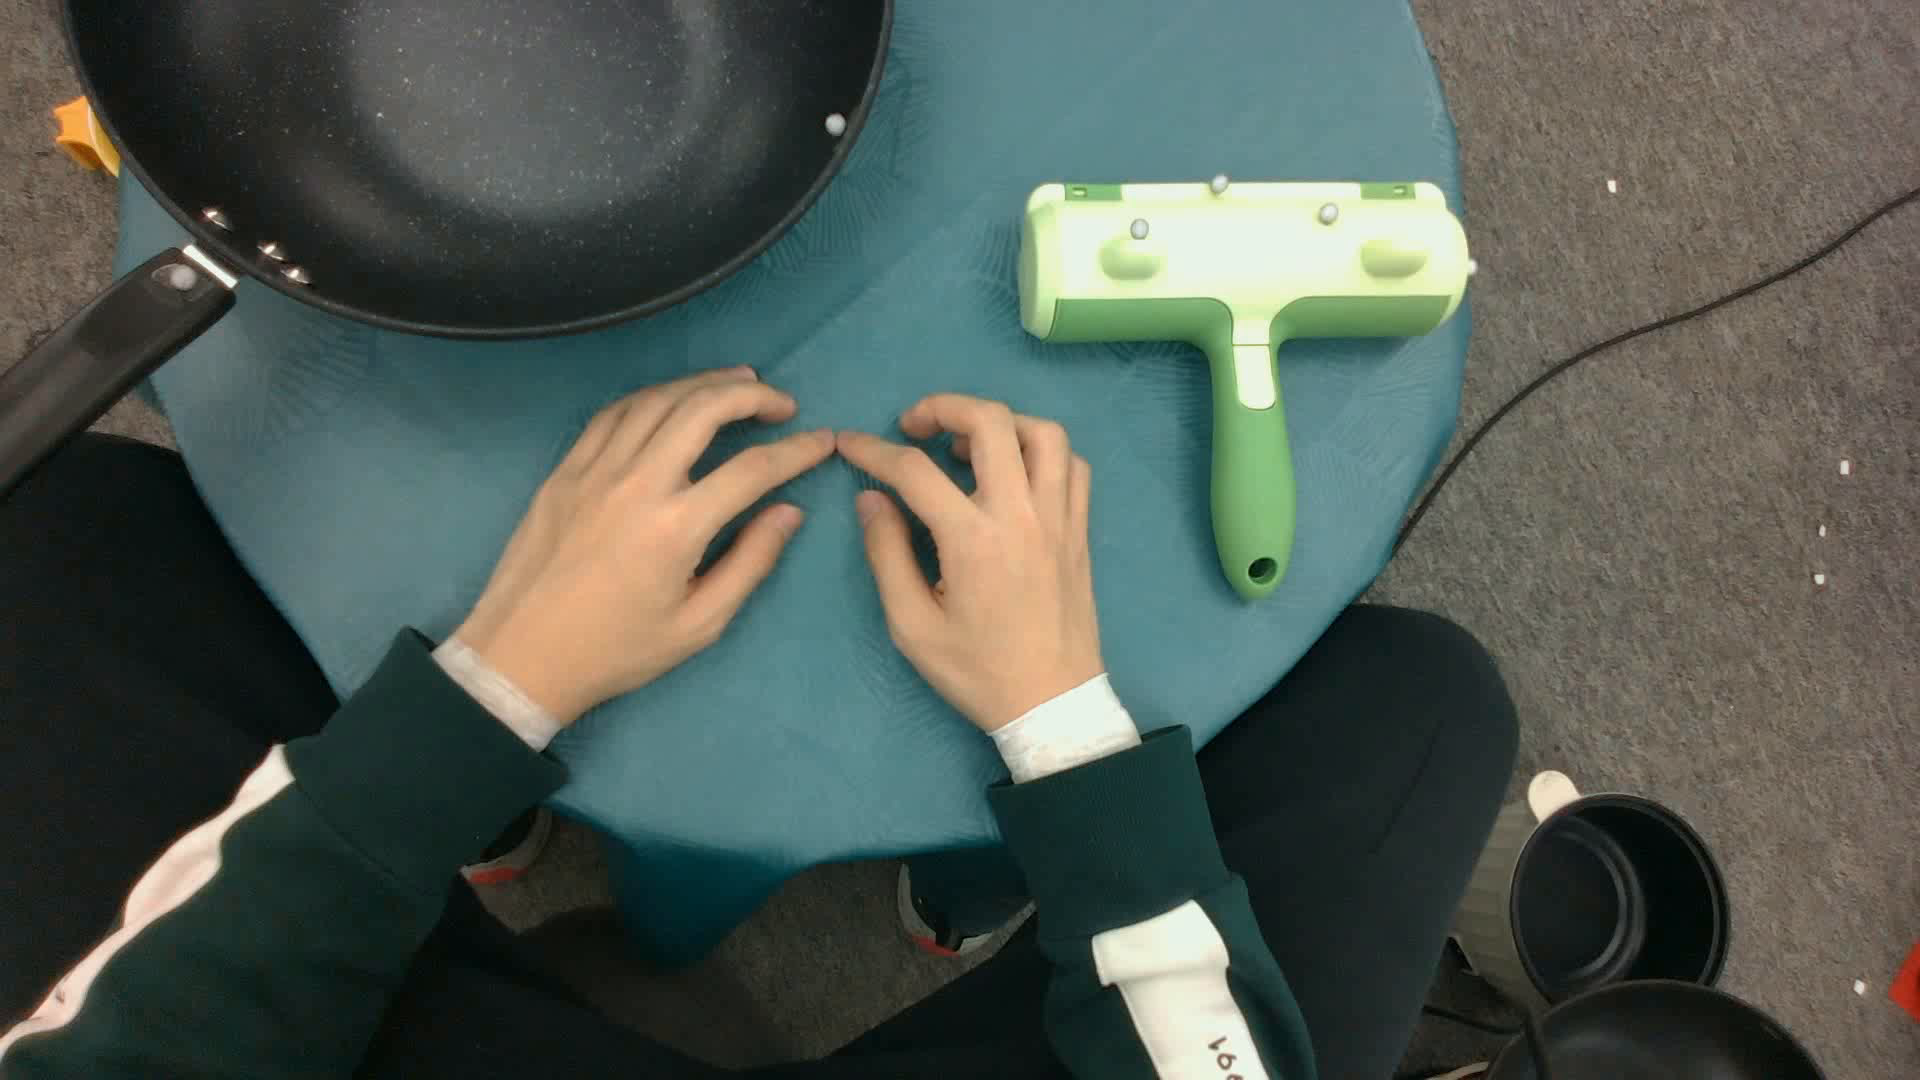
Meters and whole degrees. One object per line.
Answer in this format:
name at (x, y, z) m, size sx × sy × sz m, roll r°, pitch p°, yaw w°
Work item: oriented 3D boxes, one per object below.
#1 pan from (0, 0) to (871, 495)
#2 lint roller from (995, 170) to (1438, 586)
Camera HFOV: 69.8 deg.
pan at (-0.238, -0.158, 0.541) m, size 0.310 × 0.111 × 0.478 m, roll 34°, pitch 76°, yaw -1°
lint roller at (0.121, -0.076, 0.600) m, size 0.199 × 0.082 × 0.183 m, roll -3°, pitch 76°, yaw -10°
